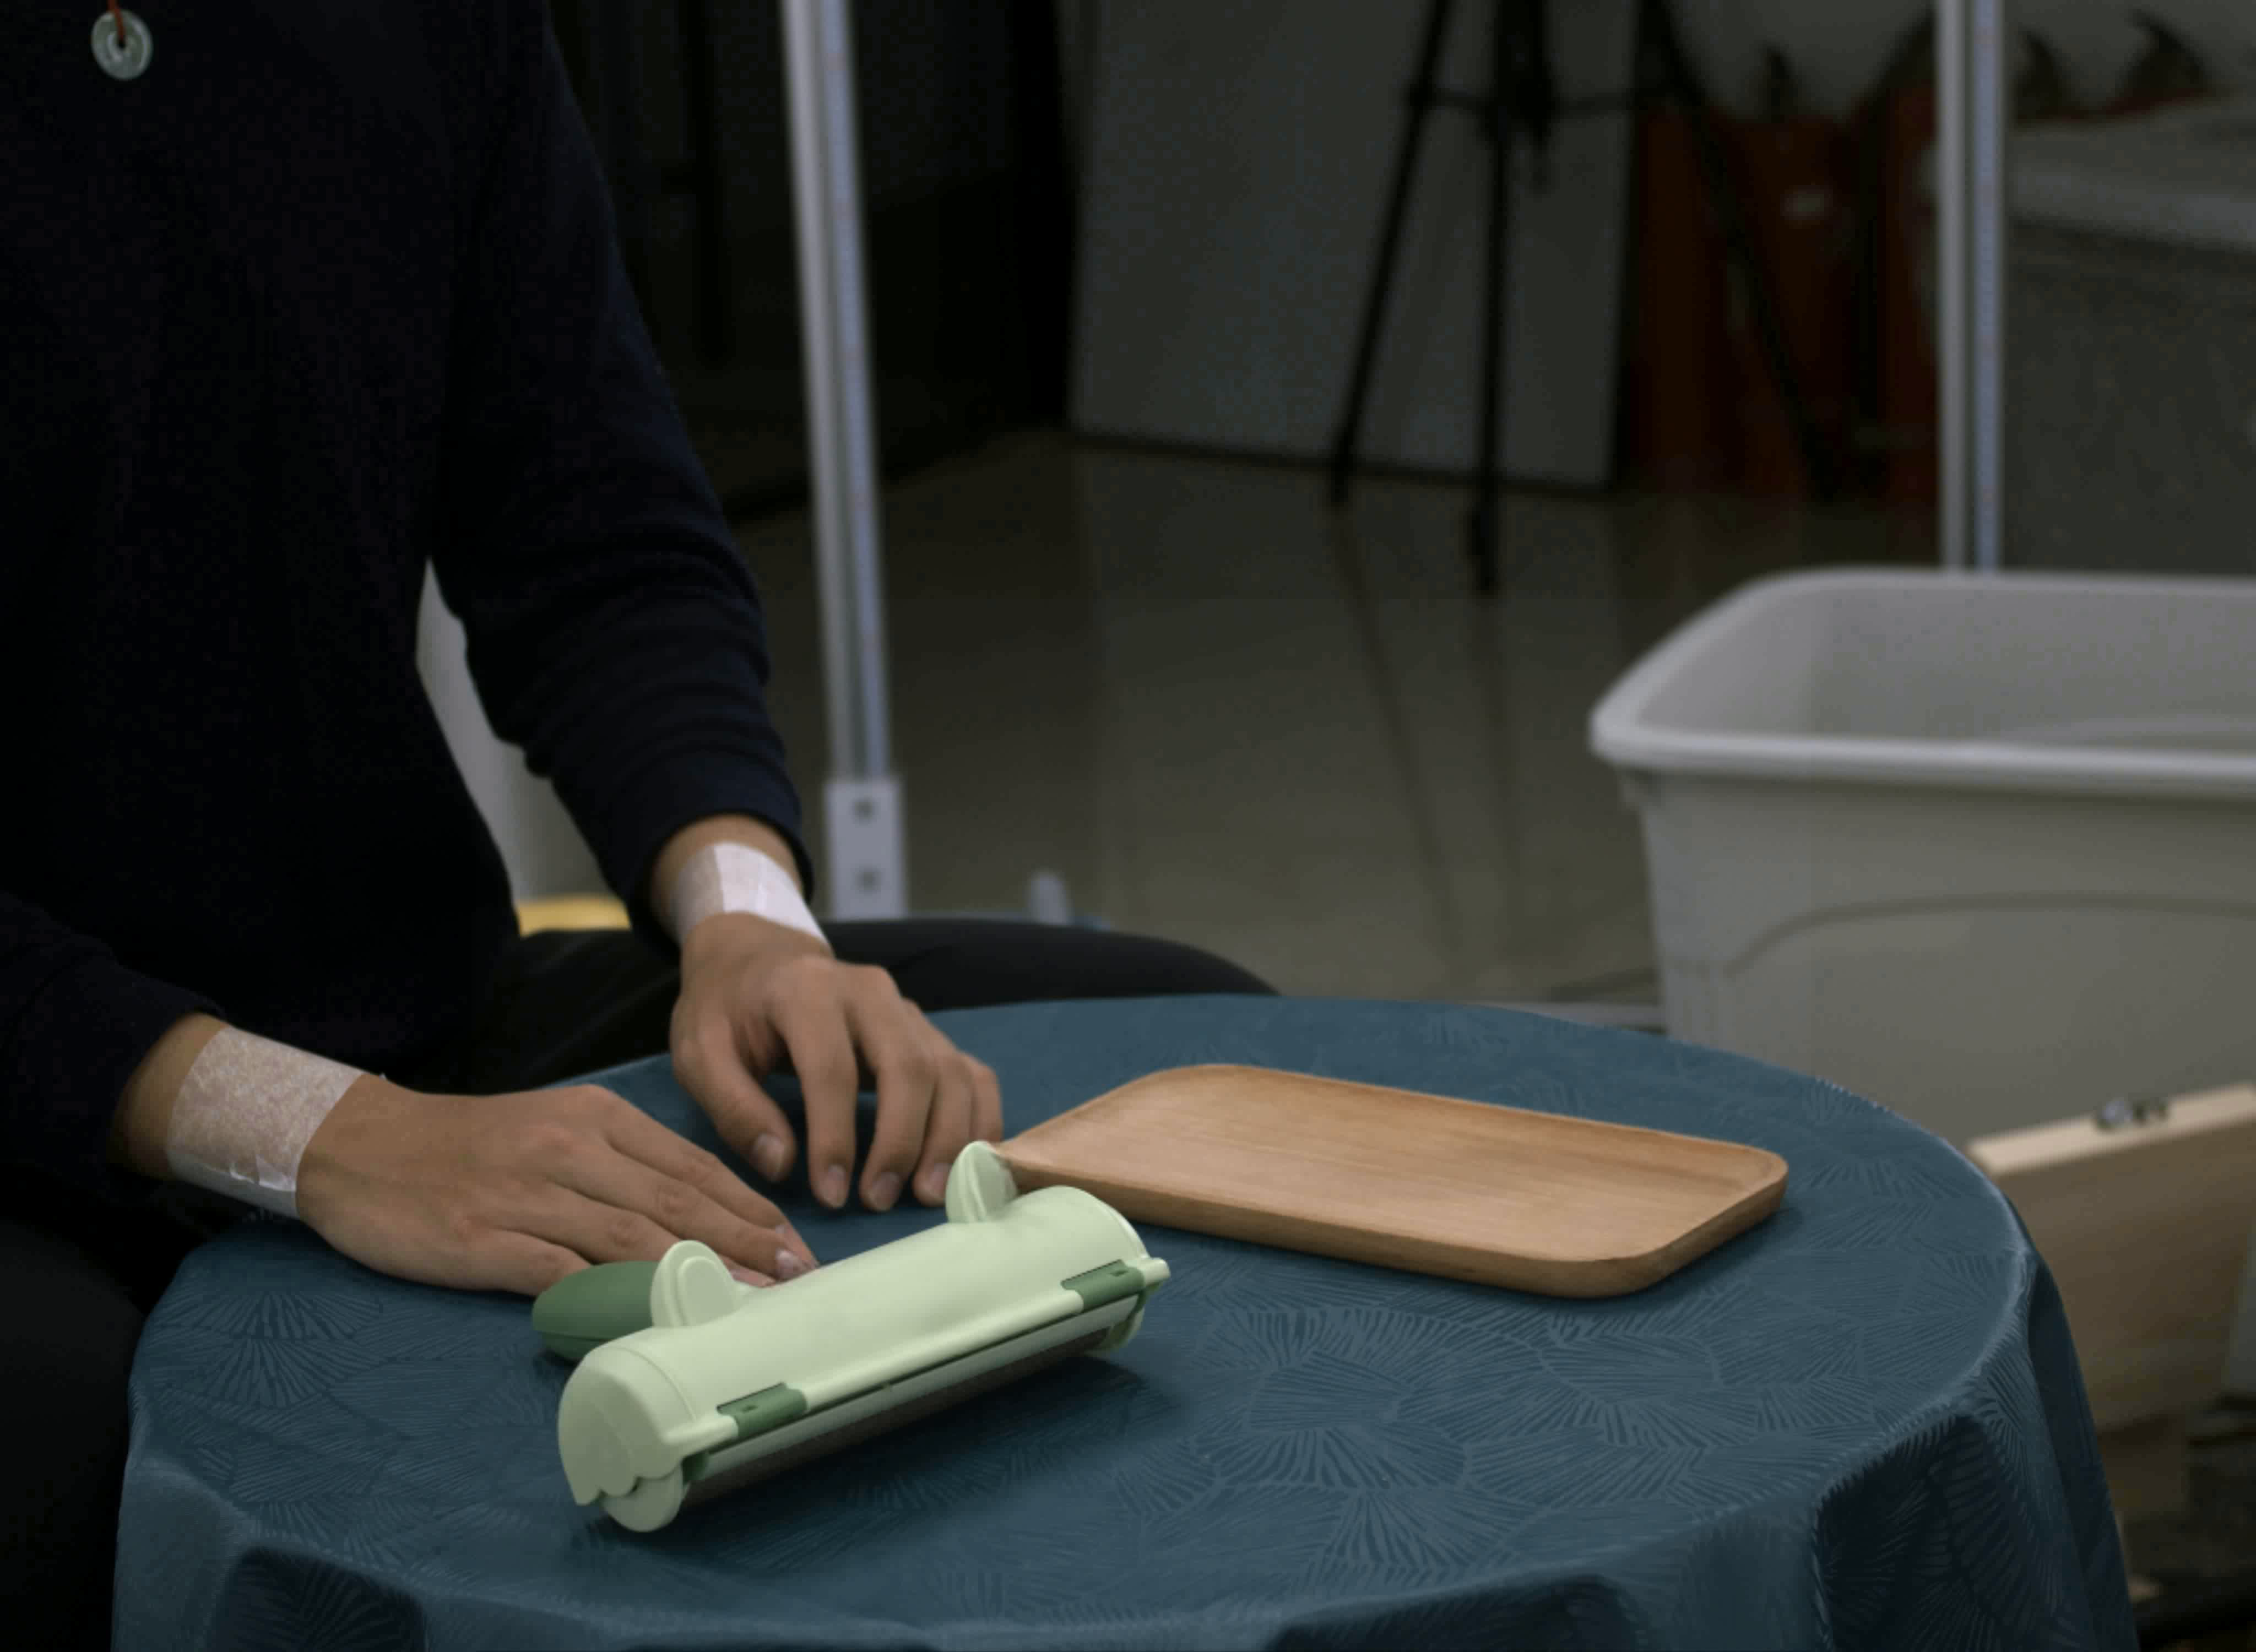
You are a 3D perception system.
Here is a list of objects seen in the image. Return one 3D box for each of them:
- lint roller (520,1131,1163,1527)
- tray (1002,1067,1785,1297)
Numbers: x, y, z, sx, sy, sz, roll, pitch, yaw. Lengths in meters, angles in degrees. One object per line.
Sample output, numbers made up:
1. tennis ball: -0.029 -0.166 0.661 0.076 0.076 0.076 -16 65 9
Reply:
1. lint roller: -0.117 0.130 1.587 0.185 0.083 0.194 18 24 42
2. tray: 0.084 0.114 1.742 0.252 0.023 0.128 6 15 38
